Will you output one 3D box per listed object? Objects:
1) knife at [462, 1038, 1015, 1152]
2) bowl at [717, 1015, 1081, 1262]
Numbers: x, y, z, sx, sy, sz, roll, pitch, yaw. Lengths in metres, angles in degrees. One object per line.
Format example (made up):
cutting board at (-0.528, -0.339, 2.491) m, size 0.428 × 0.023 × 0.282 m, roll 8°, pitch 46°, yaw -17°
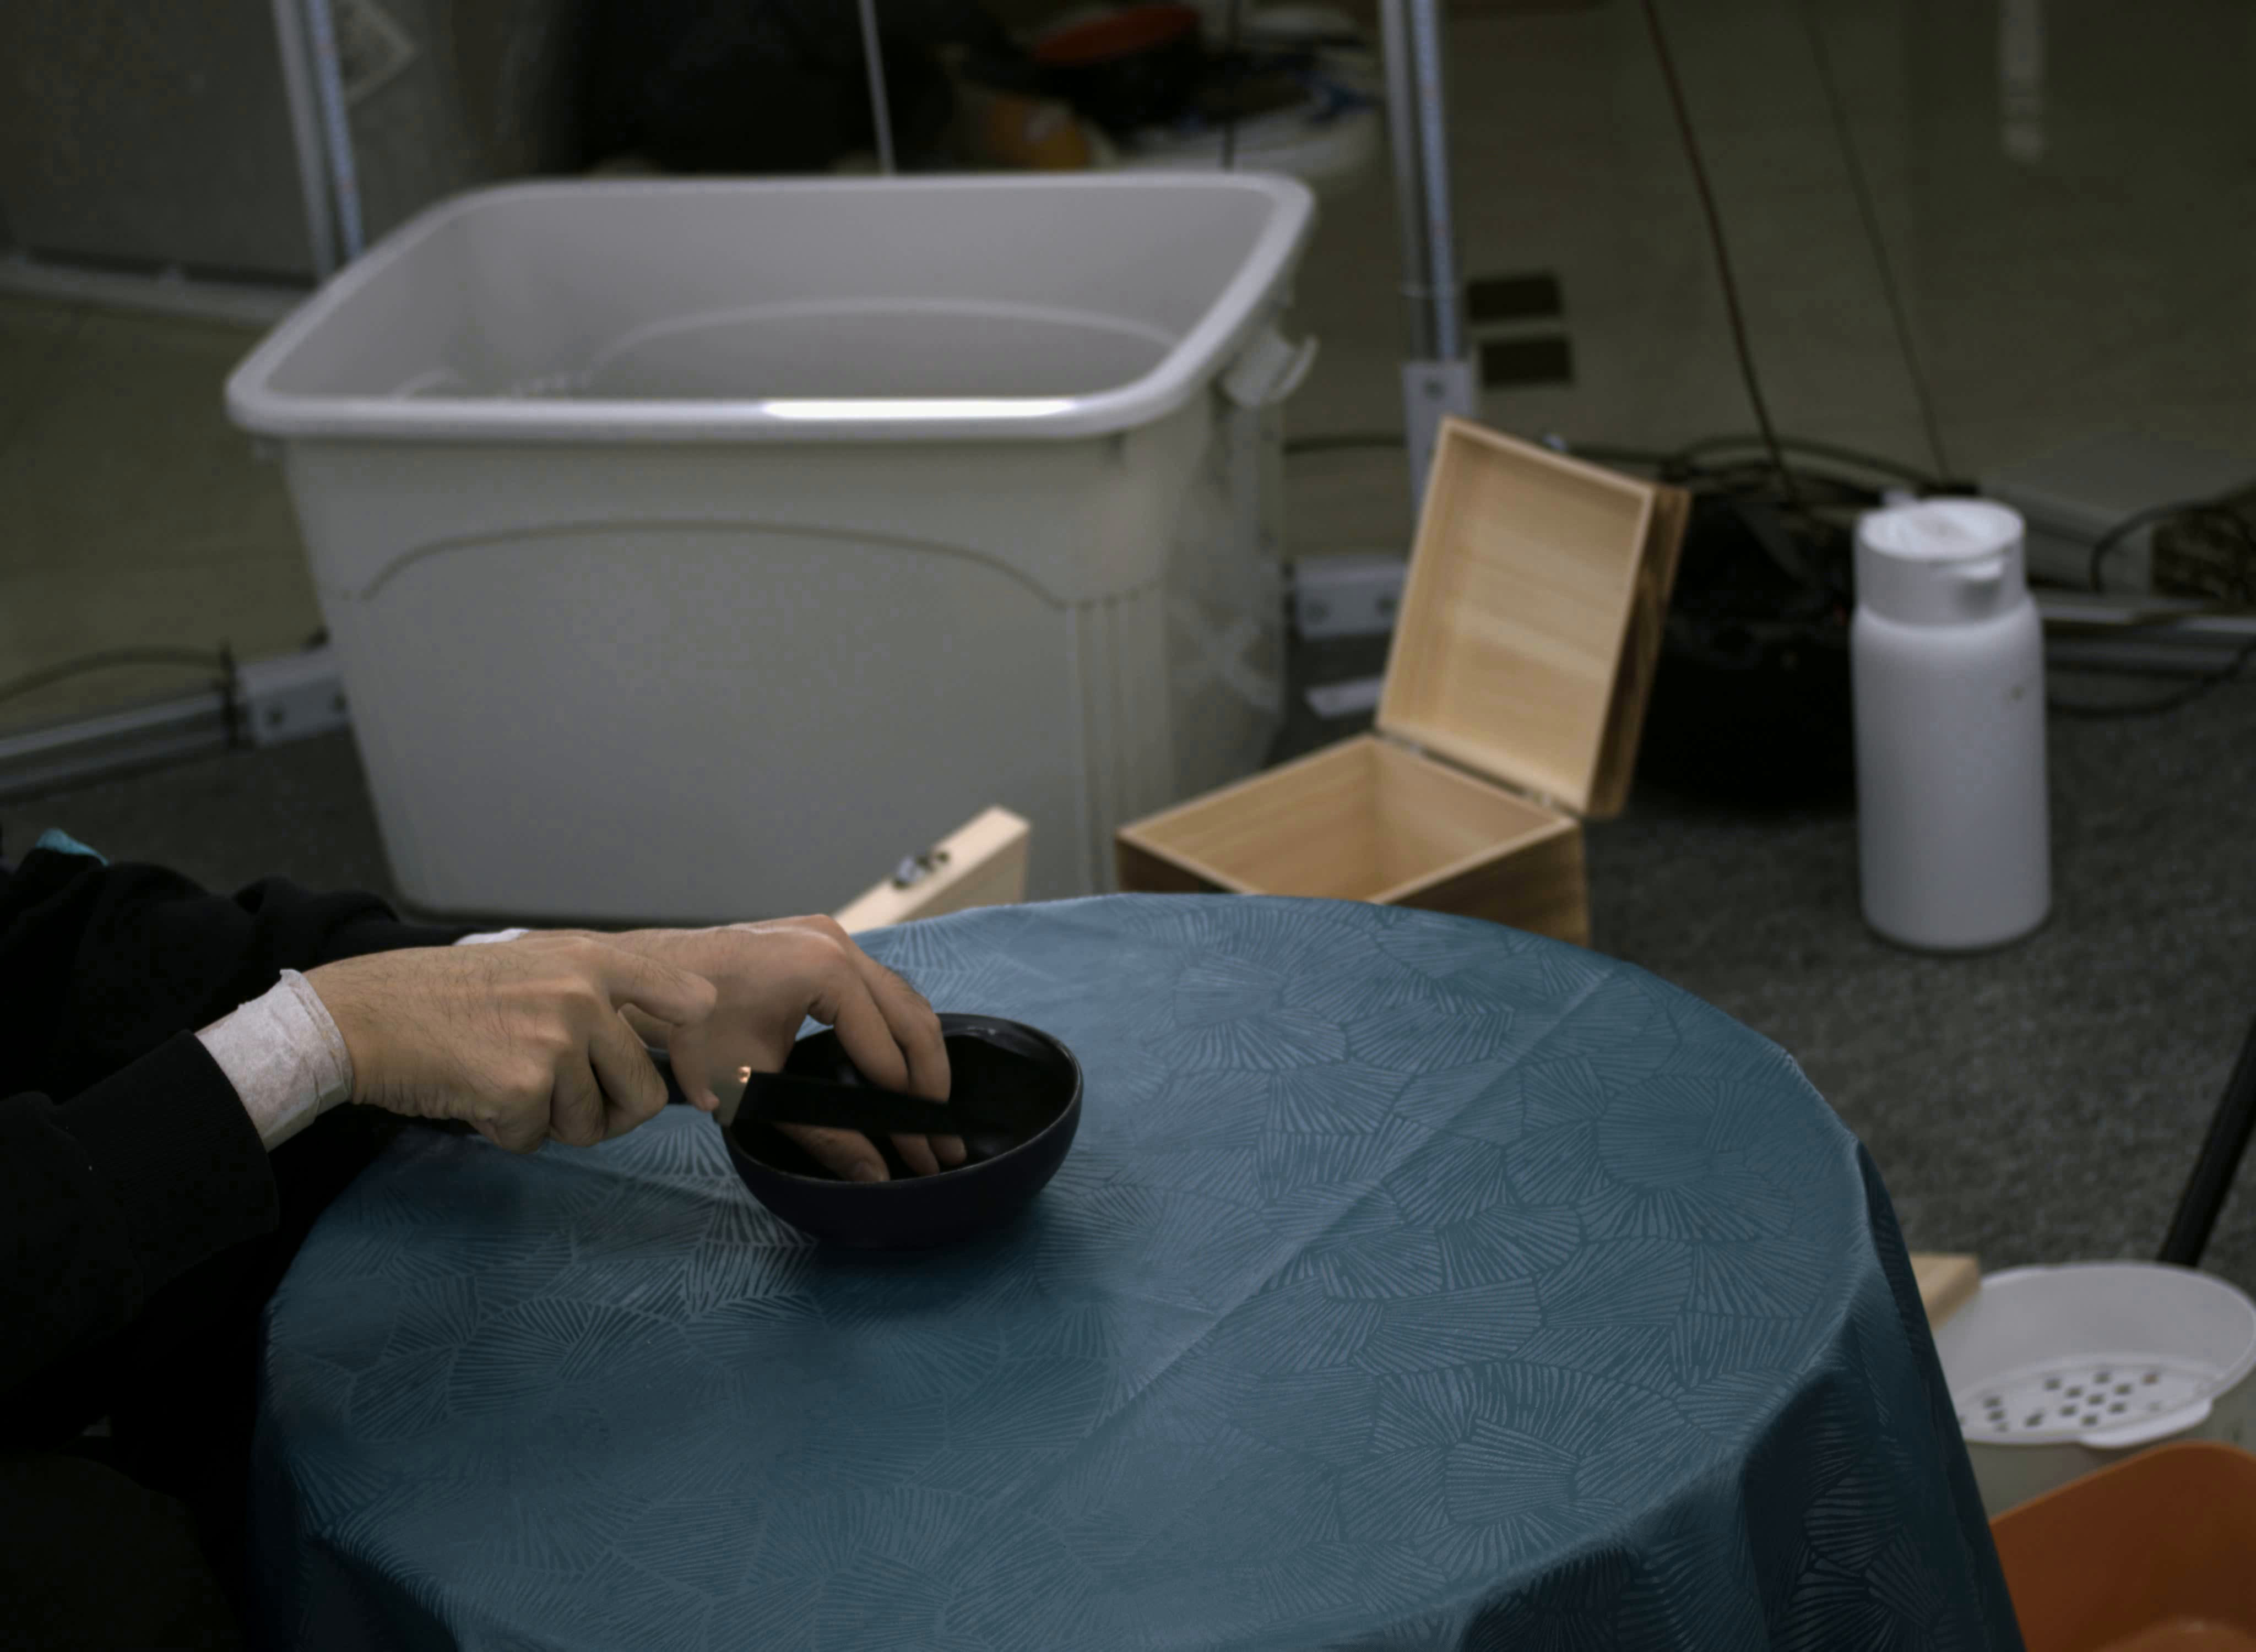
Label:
knife at (-0.141, 0.099, 2.092) m, size 0.226 × 0.026 × 0.017 m, roll 9°, pitch 29°, yaw -26°
bowl at (-0.083, 0.126, 2.143) m, size 0.140 × 0.050 × 0.138 m, roll -9°, pitch 26°, yaw 5°
